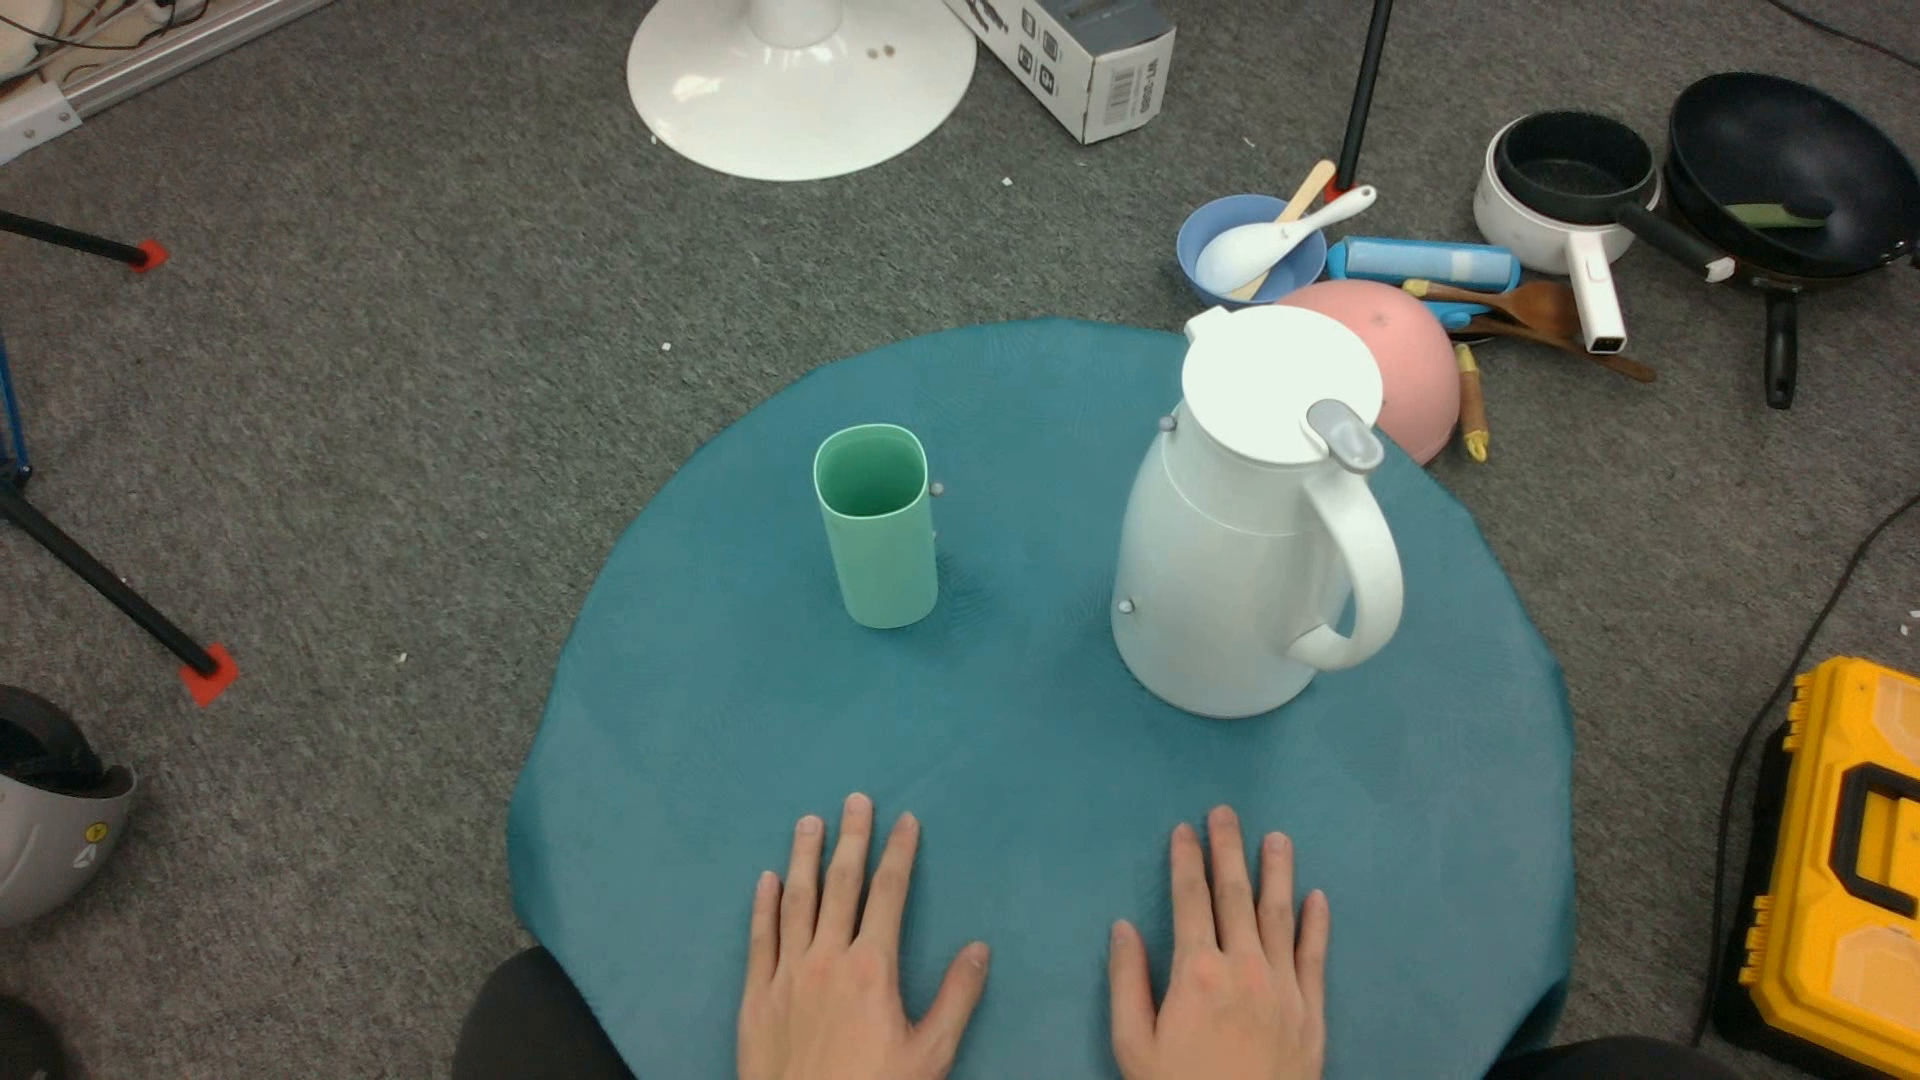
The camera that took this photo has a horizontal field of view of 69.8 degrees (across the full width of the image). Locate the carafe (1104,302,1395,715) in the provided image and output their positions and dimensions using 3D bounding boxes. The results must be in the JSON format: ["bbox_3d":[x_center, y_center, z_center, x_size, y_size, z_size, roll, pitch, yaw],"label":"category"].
[{"bbox_3d":[0.160,-0.003,0.730,0.133,0.247,0.168,-28,62,-14],"label":"carafe"}]

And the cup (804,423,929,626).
[{"bbox_3d":[-0.052,-0.005,0.809,0.067,0.132,0.067,-1,59,2],"label":"cup"}]
